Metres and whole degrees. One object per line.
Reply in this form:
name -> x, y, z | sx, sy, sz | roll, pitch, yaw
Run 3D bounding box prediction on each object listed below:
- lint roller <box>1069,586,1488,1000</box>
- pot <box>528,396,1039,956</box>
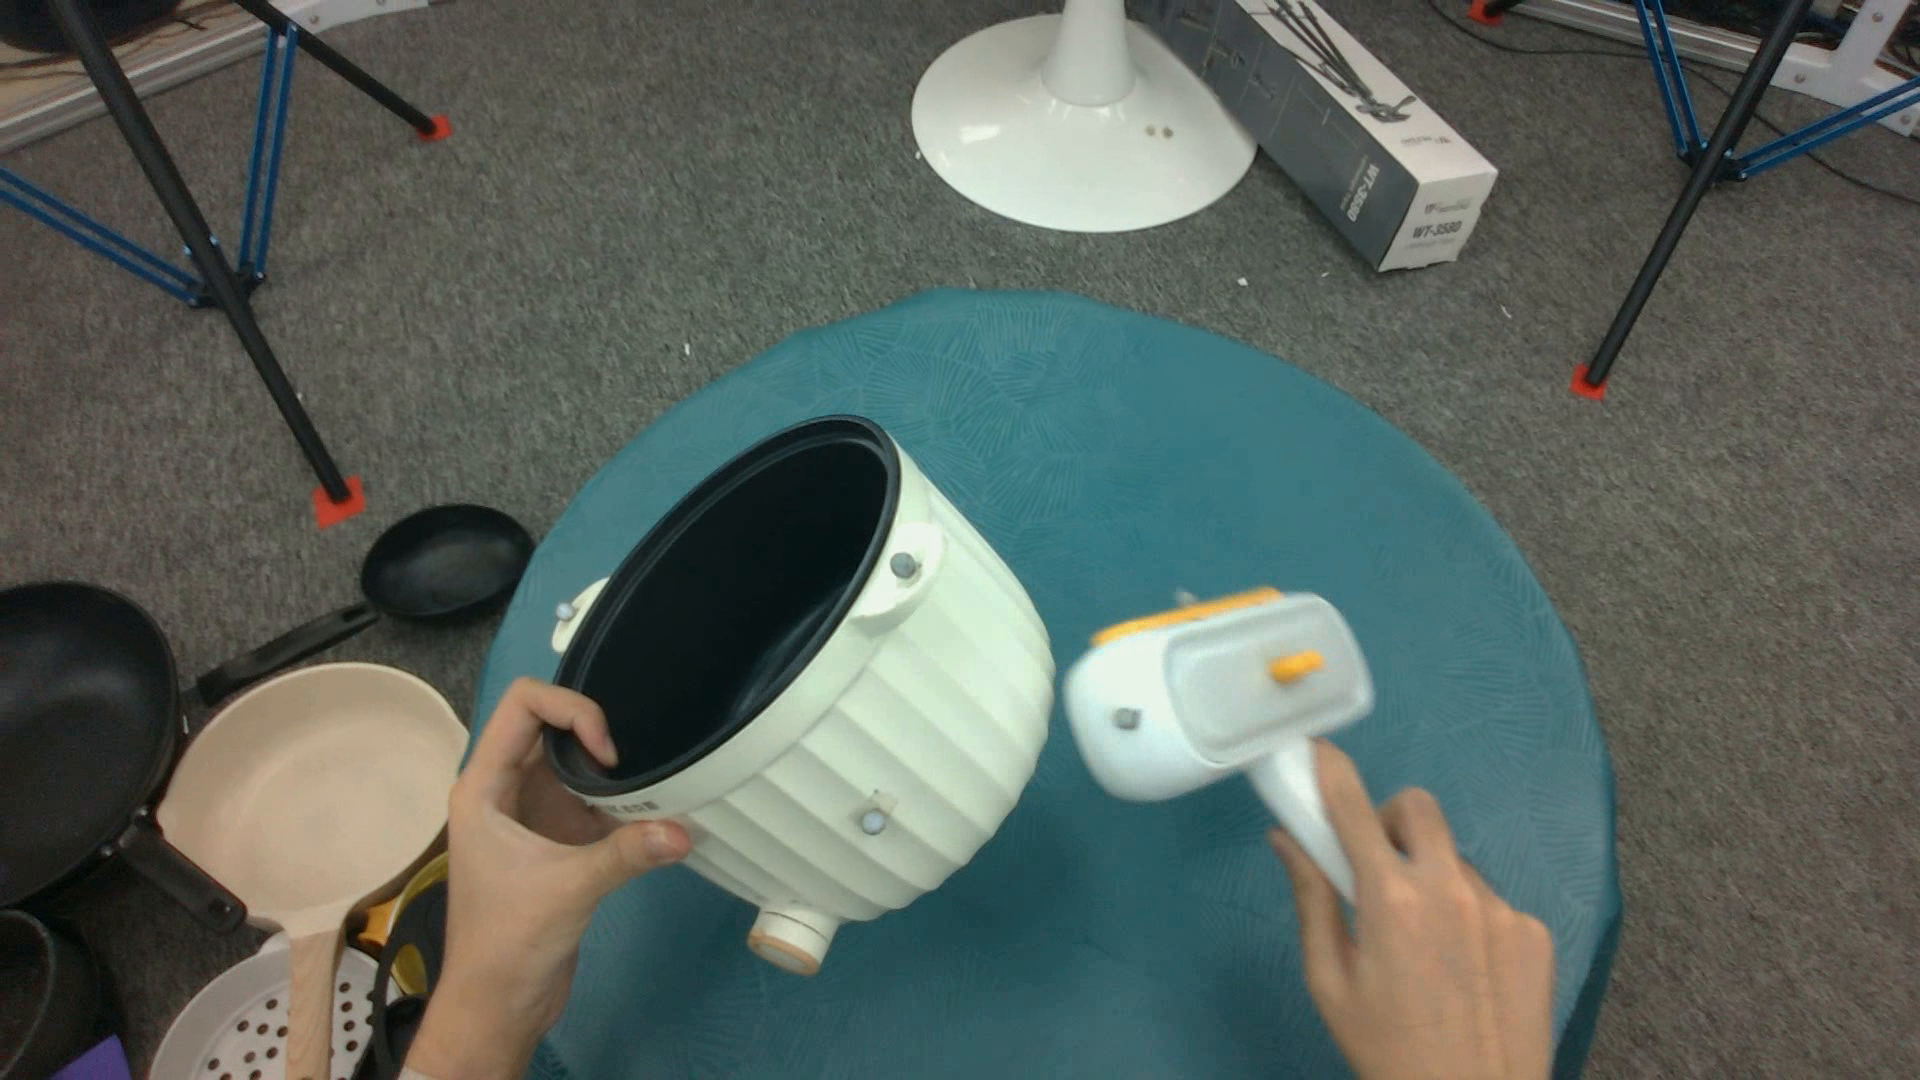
lint roller -> 0.149, 0.110, 0.588 | 0.193, 0.074, 0.192 | -5, 63, -55
pot -> -0.064, 0.057, 0.567 | 0.239, 0.142, 0.191 | -11, 42, 43
